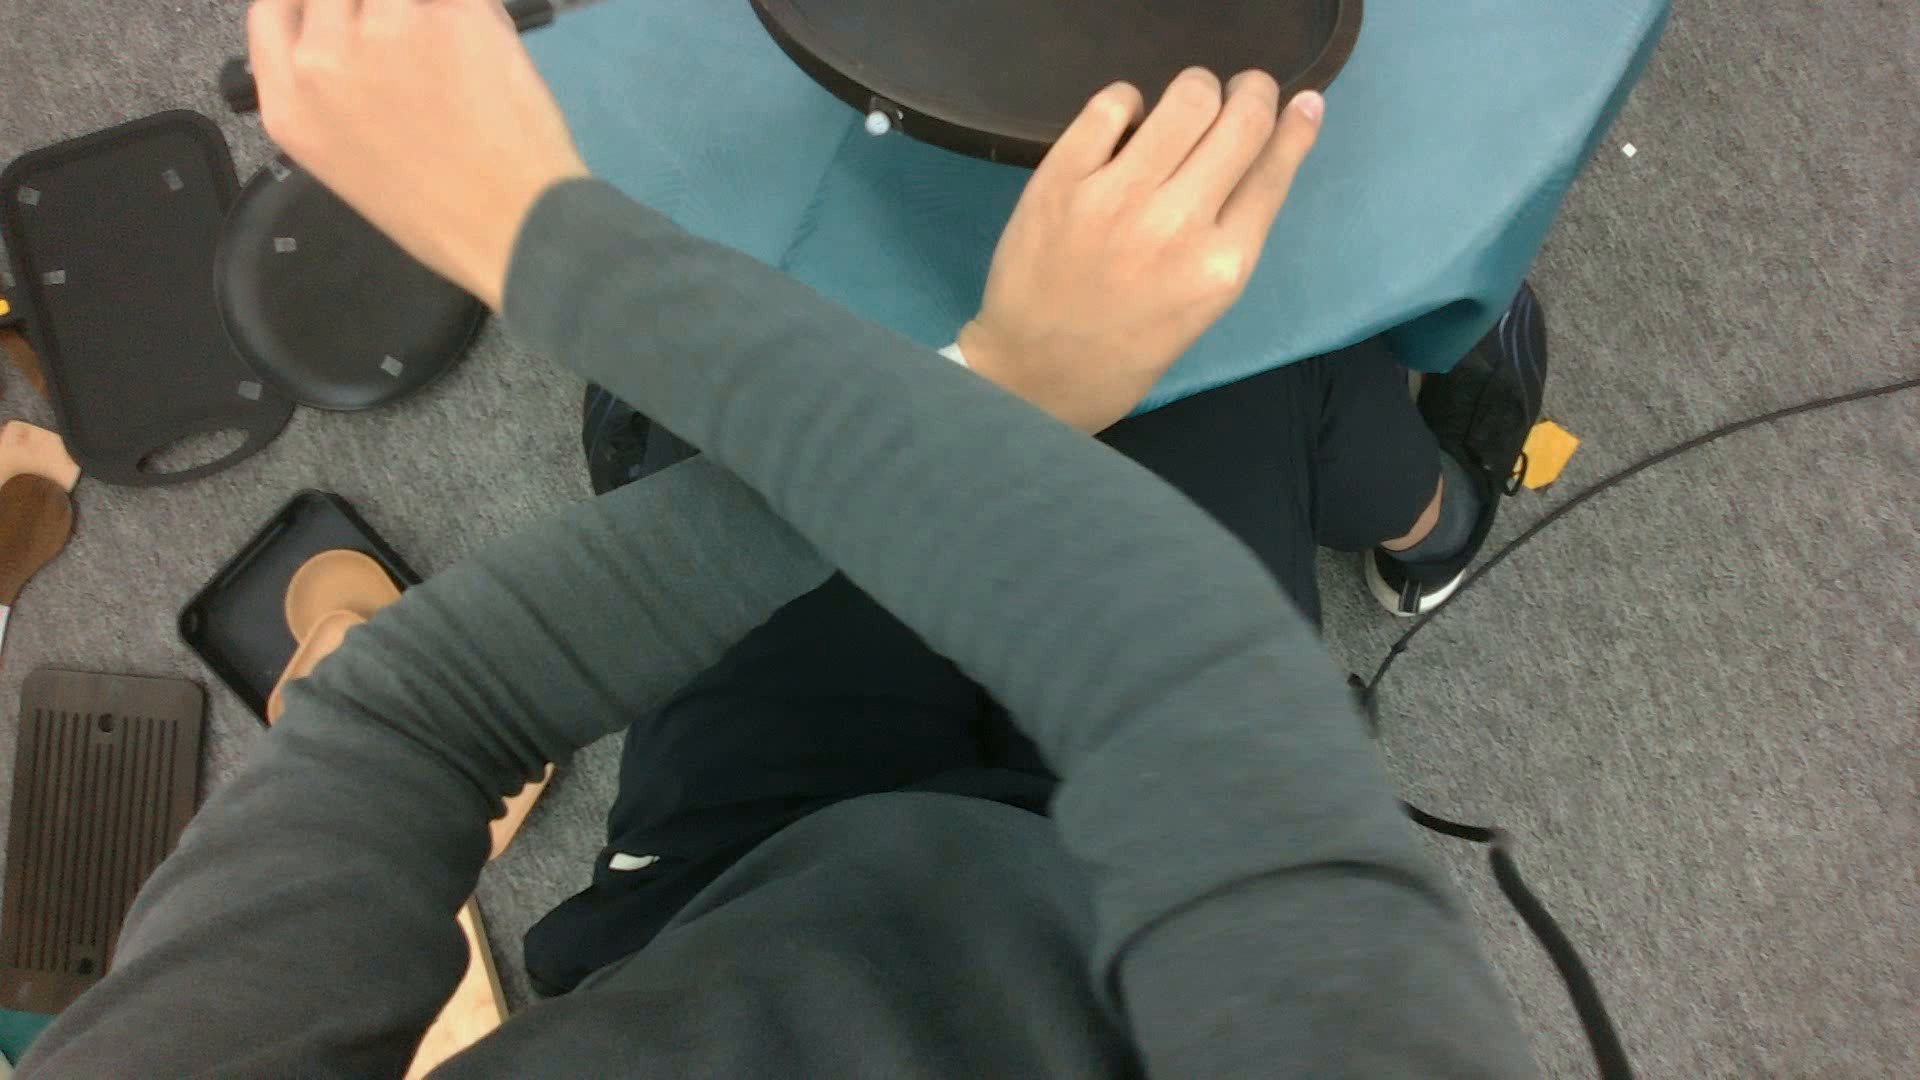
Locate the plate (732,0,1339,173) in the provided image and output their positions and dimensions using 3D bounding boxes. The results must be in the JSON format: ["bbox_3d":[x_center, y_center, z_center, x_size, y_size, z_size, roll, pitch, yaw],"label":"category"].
[{"bbox_3d":[0.029,-0.234,0.565,0.255,0.029,0.256,3,52,-4],"label":"plate"}]

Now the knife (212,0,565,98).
[{"bbox_3d":[-0.152,-0.207,0.510,0.239,0.016,0.024,-27,62,-21],"label":"knife"}]
